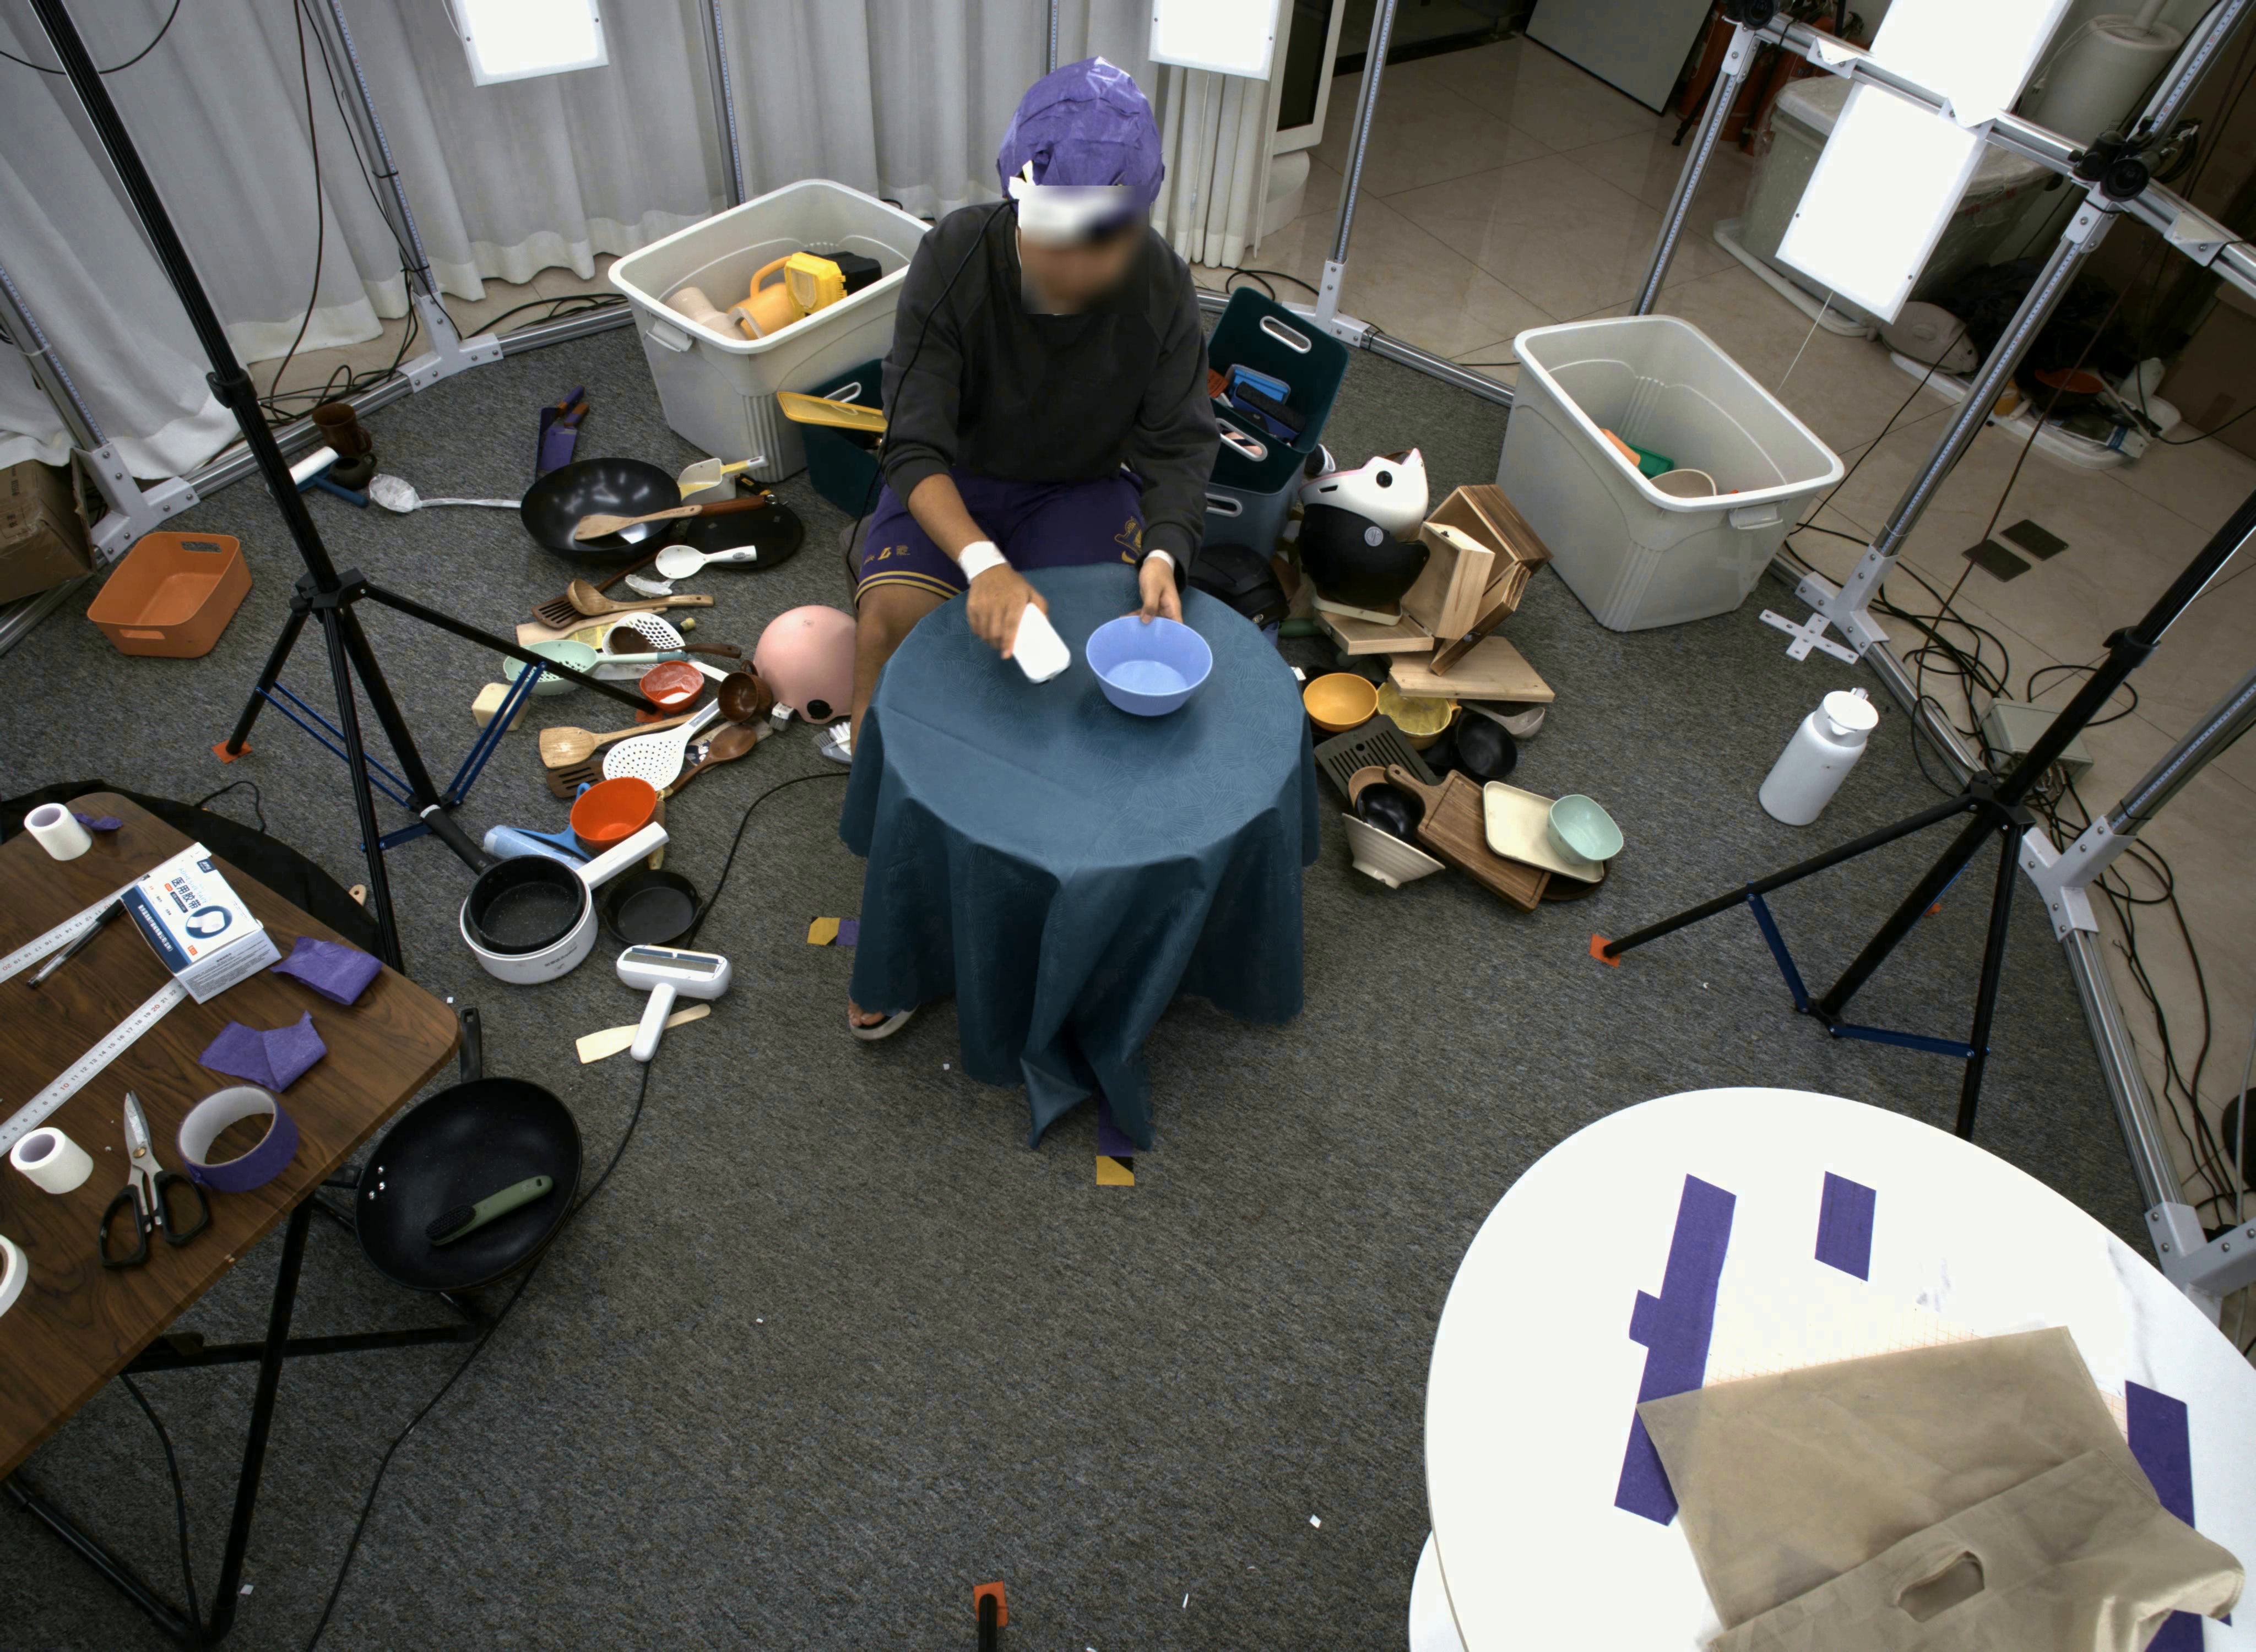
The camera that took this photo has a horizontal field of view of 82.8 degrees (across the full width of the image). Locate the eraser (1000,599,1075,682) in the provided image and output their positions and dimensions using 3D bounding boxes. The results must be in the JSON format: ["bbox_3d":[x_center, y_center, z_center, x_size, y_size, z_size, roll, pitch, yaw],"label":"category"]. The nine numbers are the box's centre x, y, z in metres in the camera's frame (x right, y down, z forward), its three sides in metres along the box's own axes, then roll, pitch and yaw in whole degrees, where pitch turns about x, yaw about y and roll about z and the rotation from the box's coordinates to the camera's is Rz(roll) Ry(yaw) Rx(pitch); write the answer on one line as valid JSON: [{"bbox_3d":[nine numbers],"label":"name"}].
[{"bbox_3d":[-0.123,-0.257,1.765,0.063,0.034,0.134,-29,59,-7],"label":"eraser"}]

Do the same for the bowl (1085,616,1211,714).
[{"bbox_3d":[0.025,-0.218,1.796,0.176,0.068,0.180,3,44,-4],"label":"bowl"}]
